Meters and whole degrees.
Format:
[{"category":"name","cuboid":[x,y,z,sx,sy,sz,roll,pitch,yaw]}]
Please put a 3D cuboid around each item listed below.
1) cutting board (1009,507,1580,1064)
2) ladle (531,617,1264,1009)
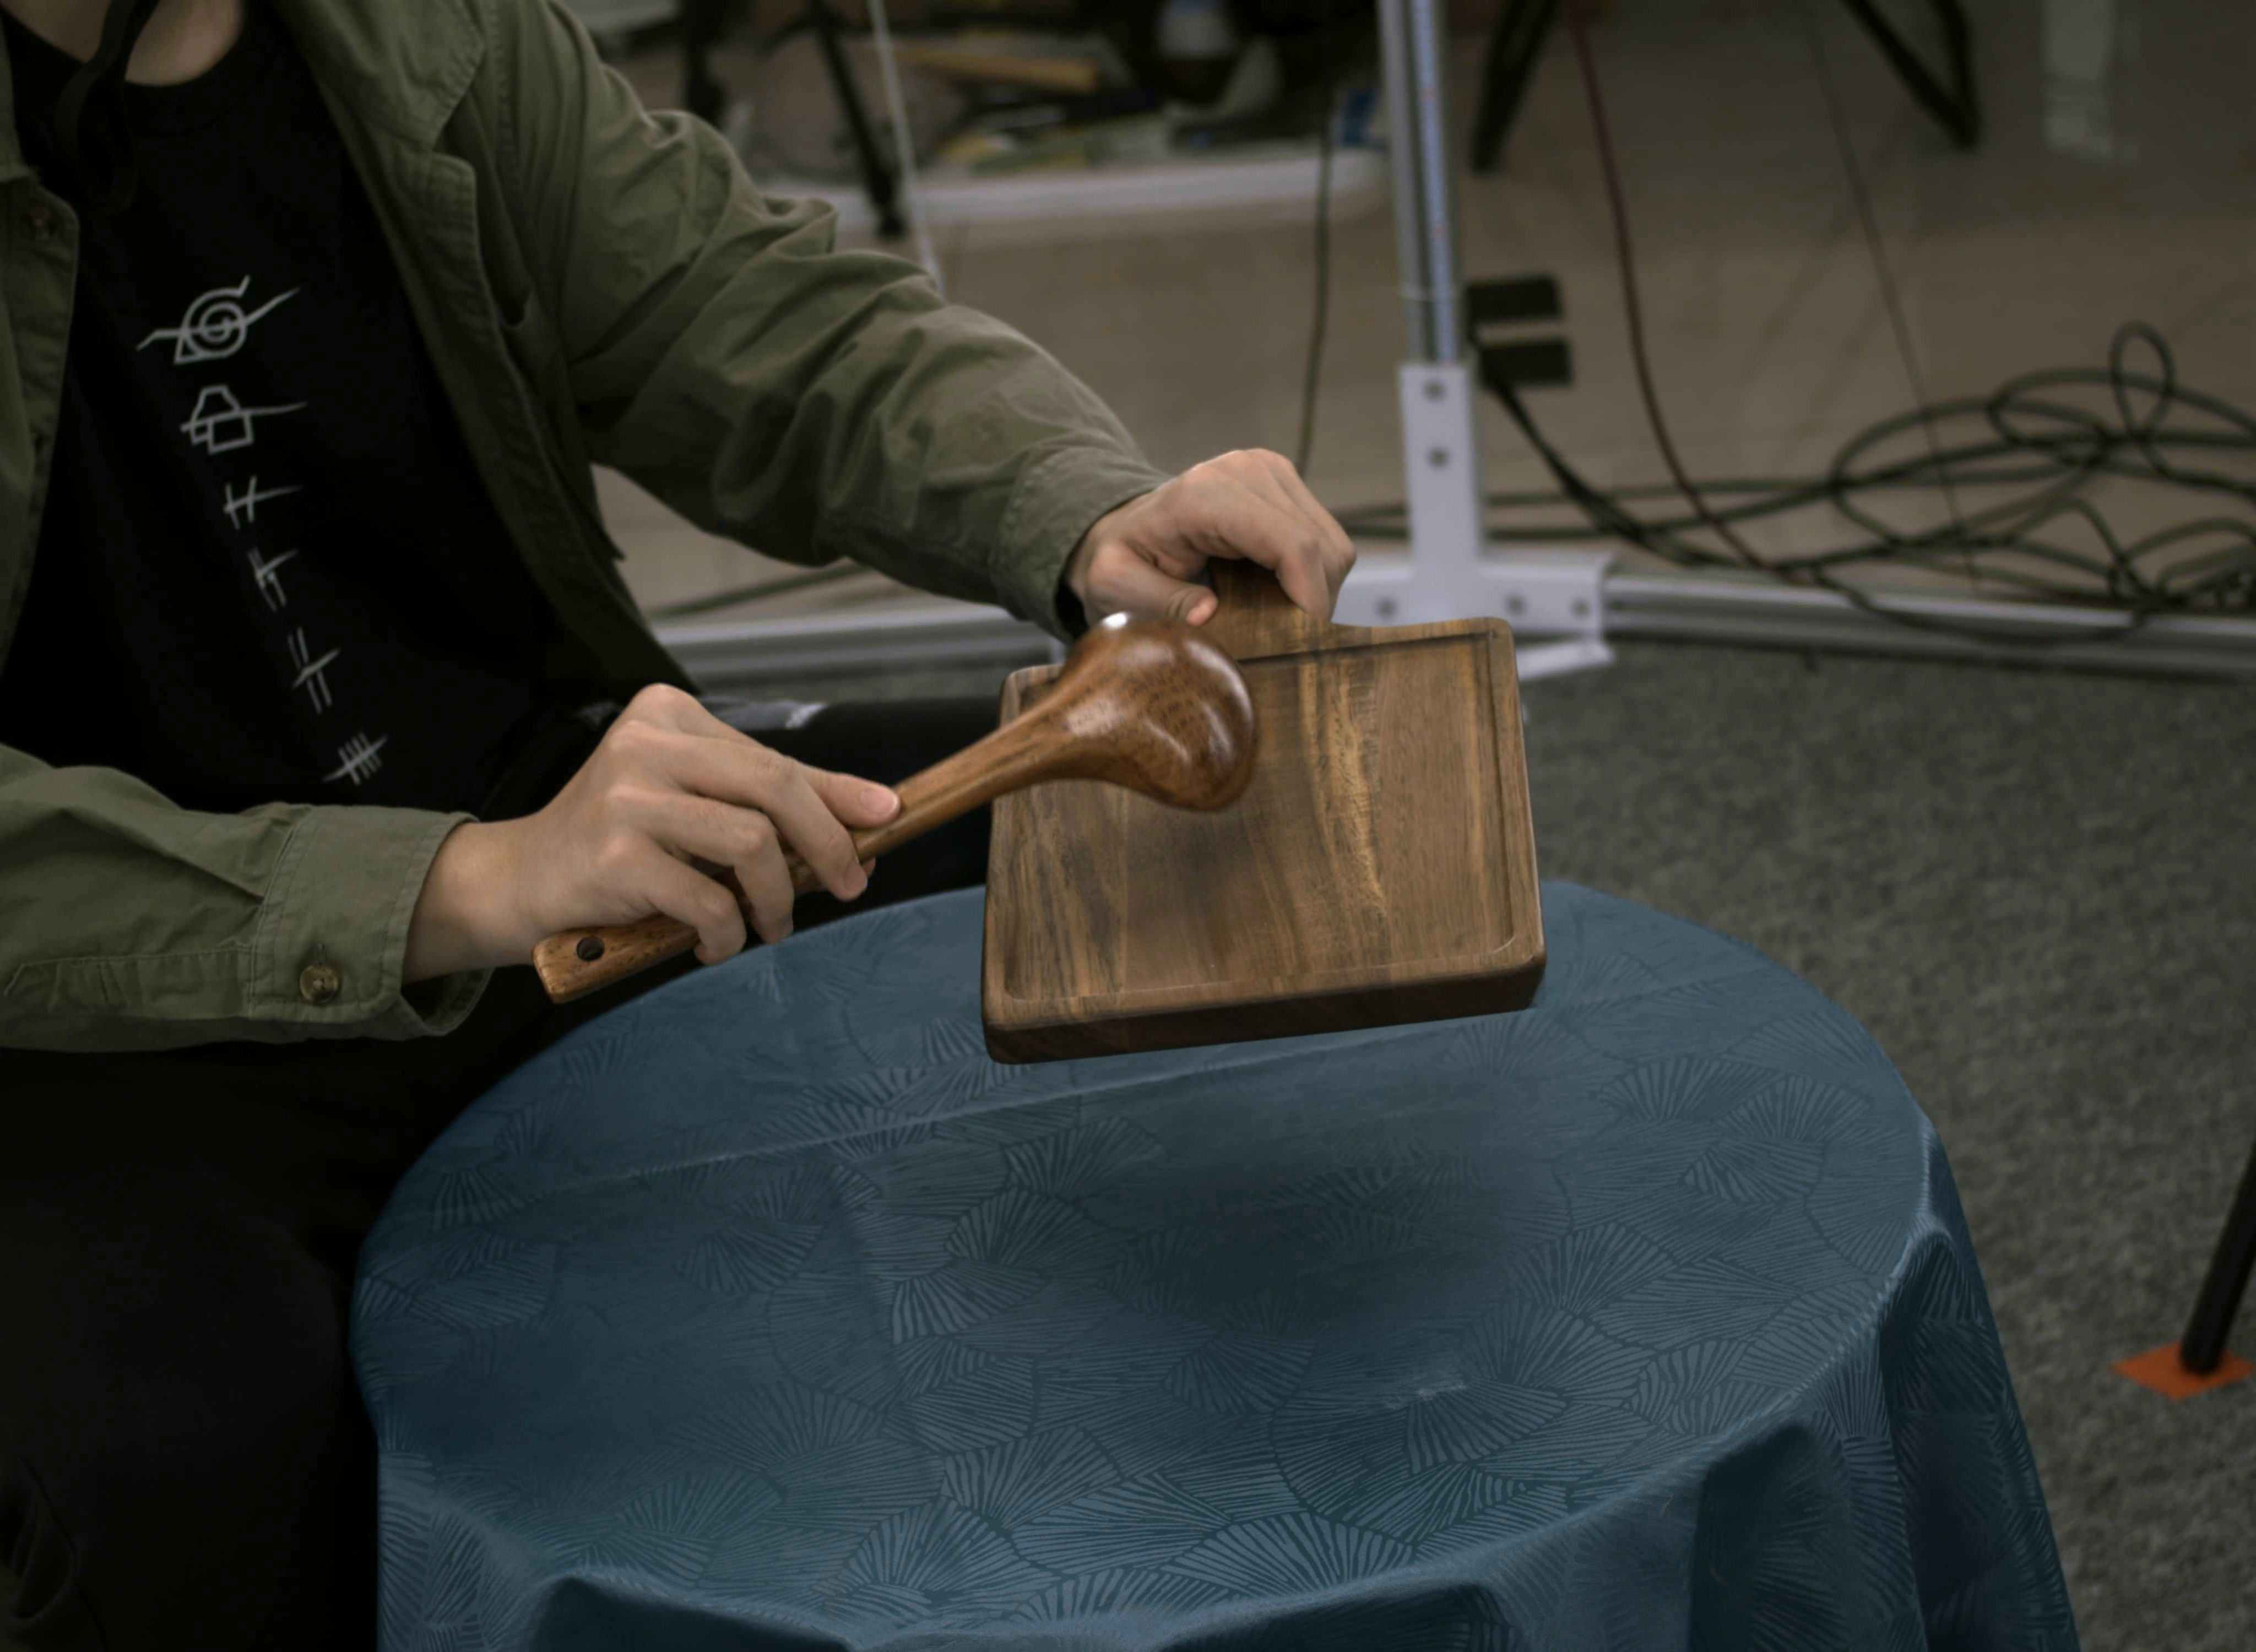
[{"category":"cutting board","cuboid":[0.062,-0.025,2.092,0.201,0.023,0.346,-5,32,6]},{"category":"ladle","cuboid":[-0.081,0.005,2.021,0.274,0.077,0.081,-26,67,-1]}]
